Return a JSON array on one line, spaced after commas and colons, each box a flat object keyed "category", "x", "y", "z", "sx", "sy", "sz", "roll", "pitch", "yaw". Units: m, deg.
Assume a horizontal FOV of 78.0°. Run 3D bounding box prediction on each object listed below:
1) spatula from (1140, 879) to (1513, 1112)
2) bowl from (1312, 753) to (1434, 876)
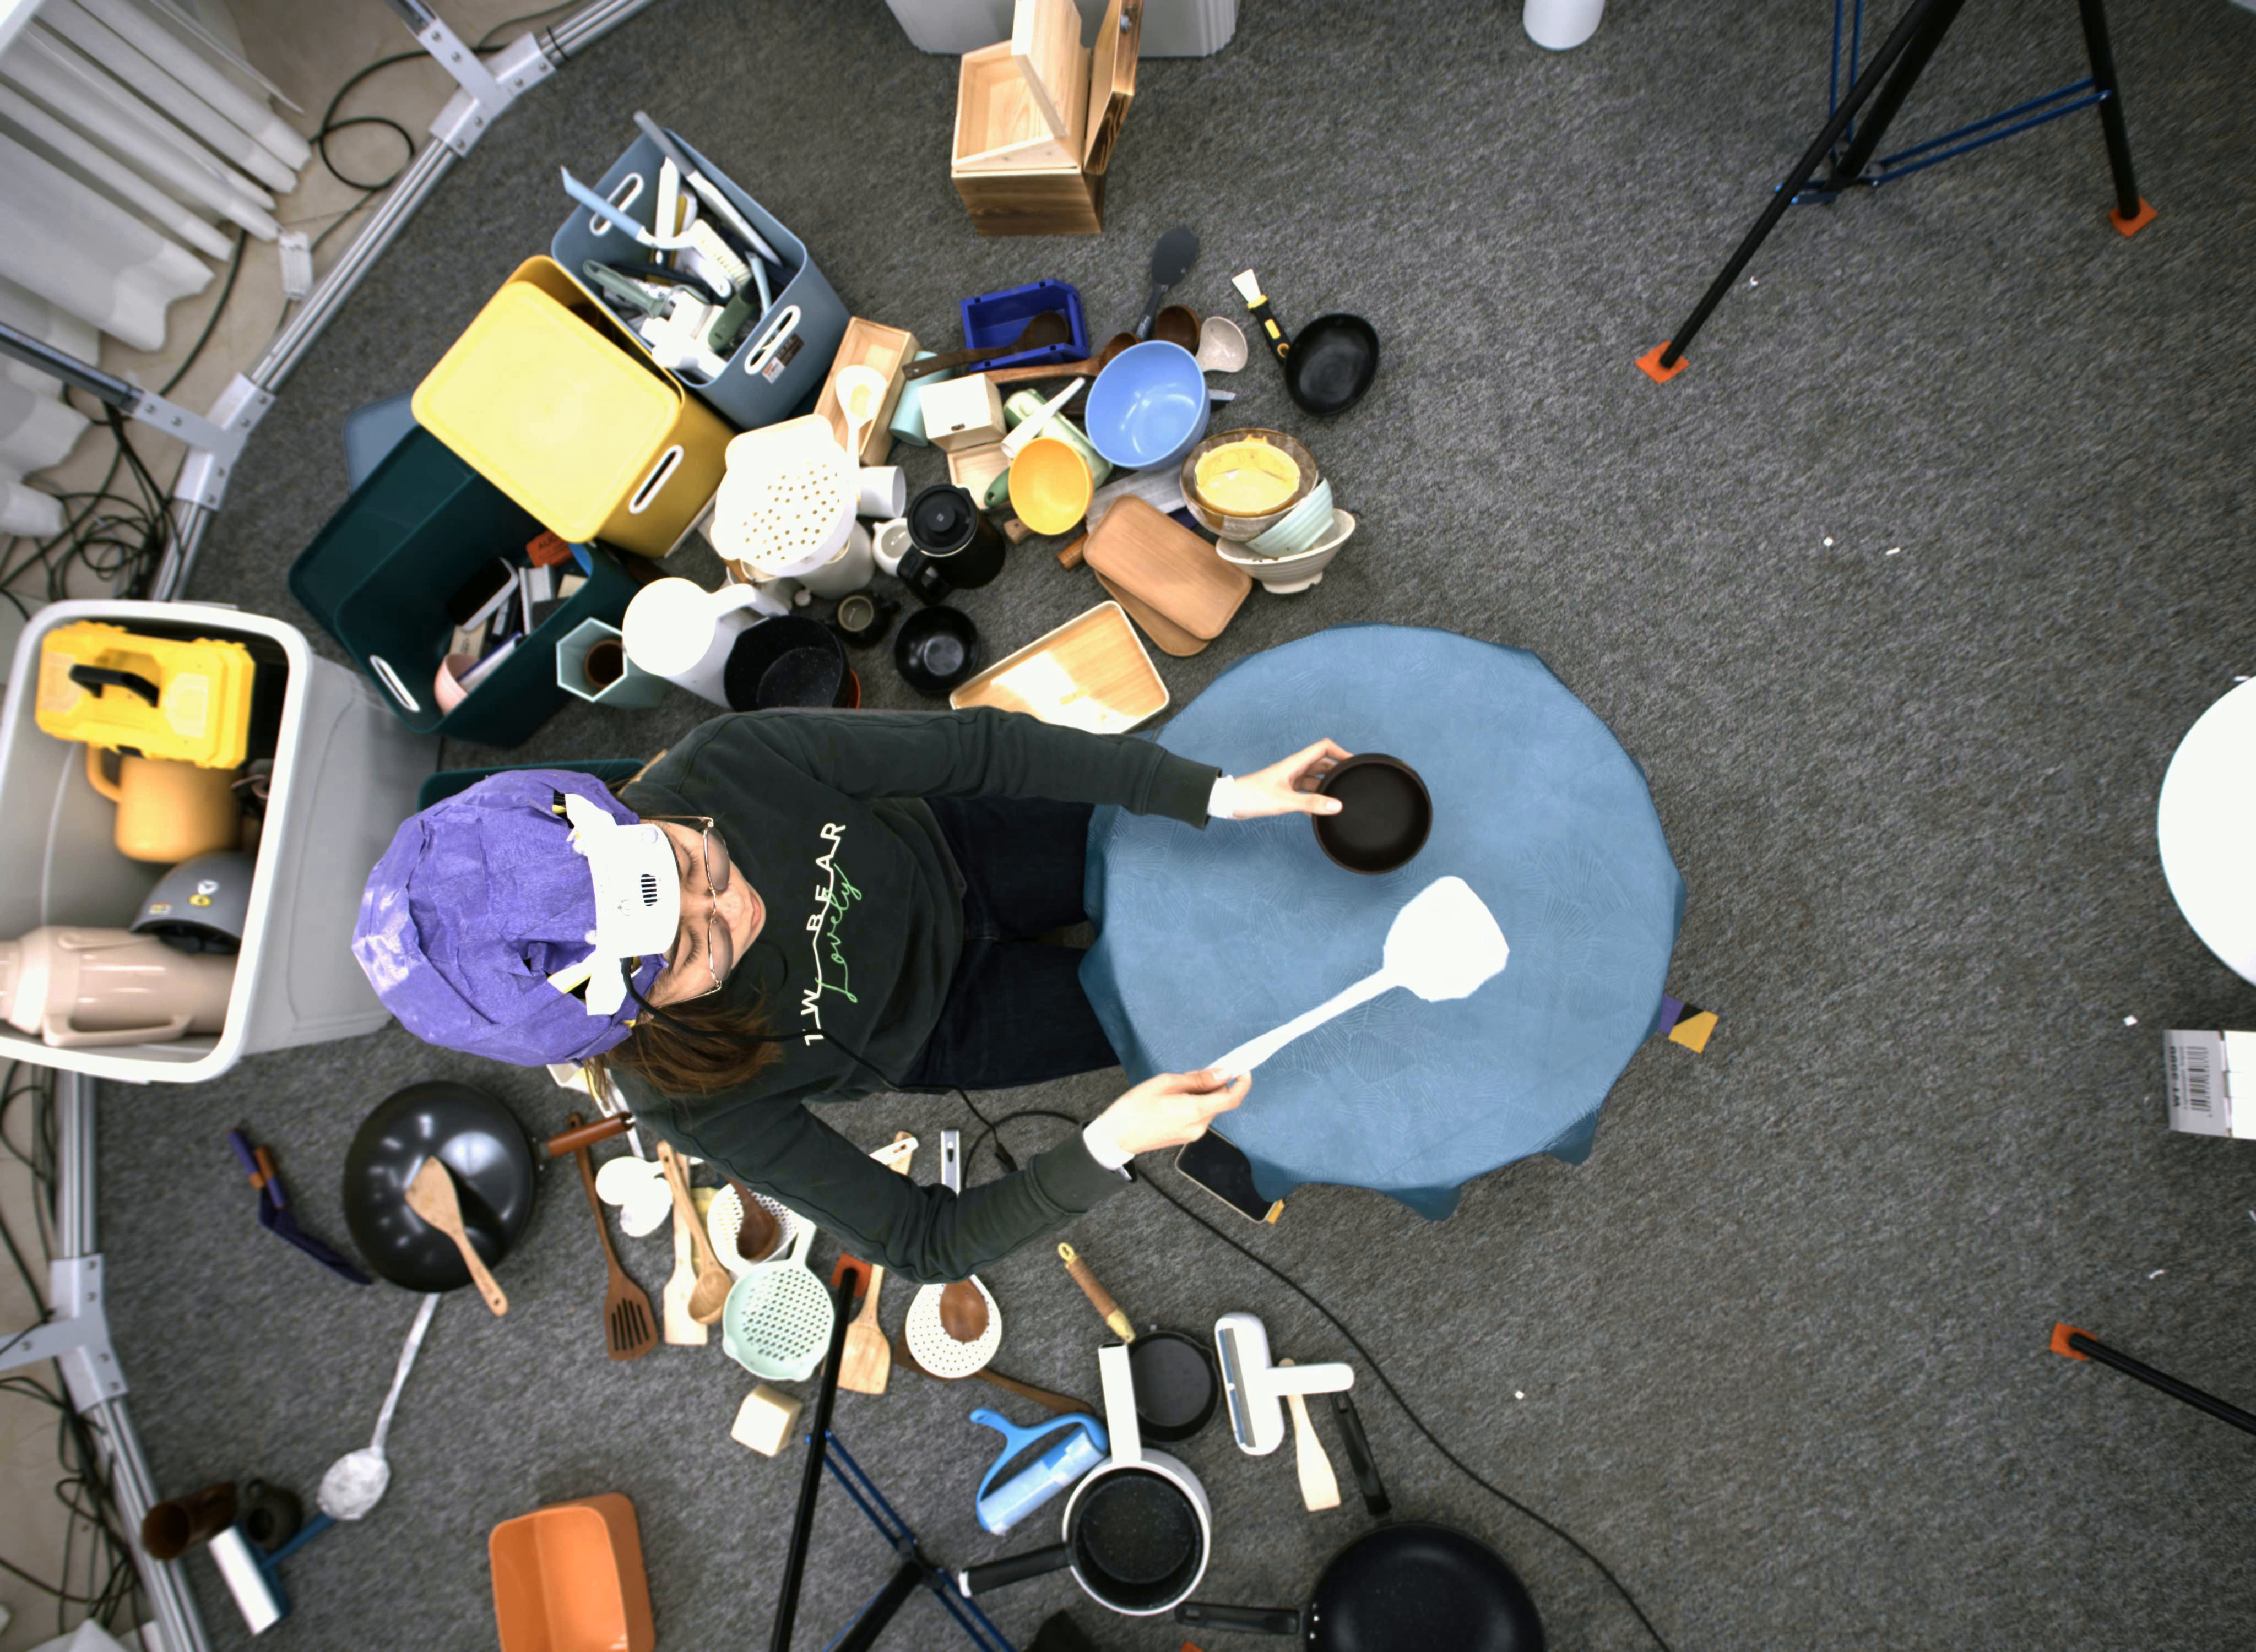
[{"category": "spatula", "x": 0.172, "y": 0.170, "z": 1.251, "sx": 0.365, "sy": 0.045, "sz": 0.097, "roll": -29, "pitch": 72, "yaw": 2}, {"category": "bowl", "x": 0.239, "y": -0.016, "z": 1.355, "sx": 0.118, "sy": 0.069, "sz": 0.119, "roll": 2, "pitch": 105, "yaw": 8}]
